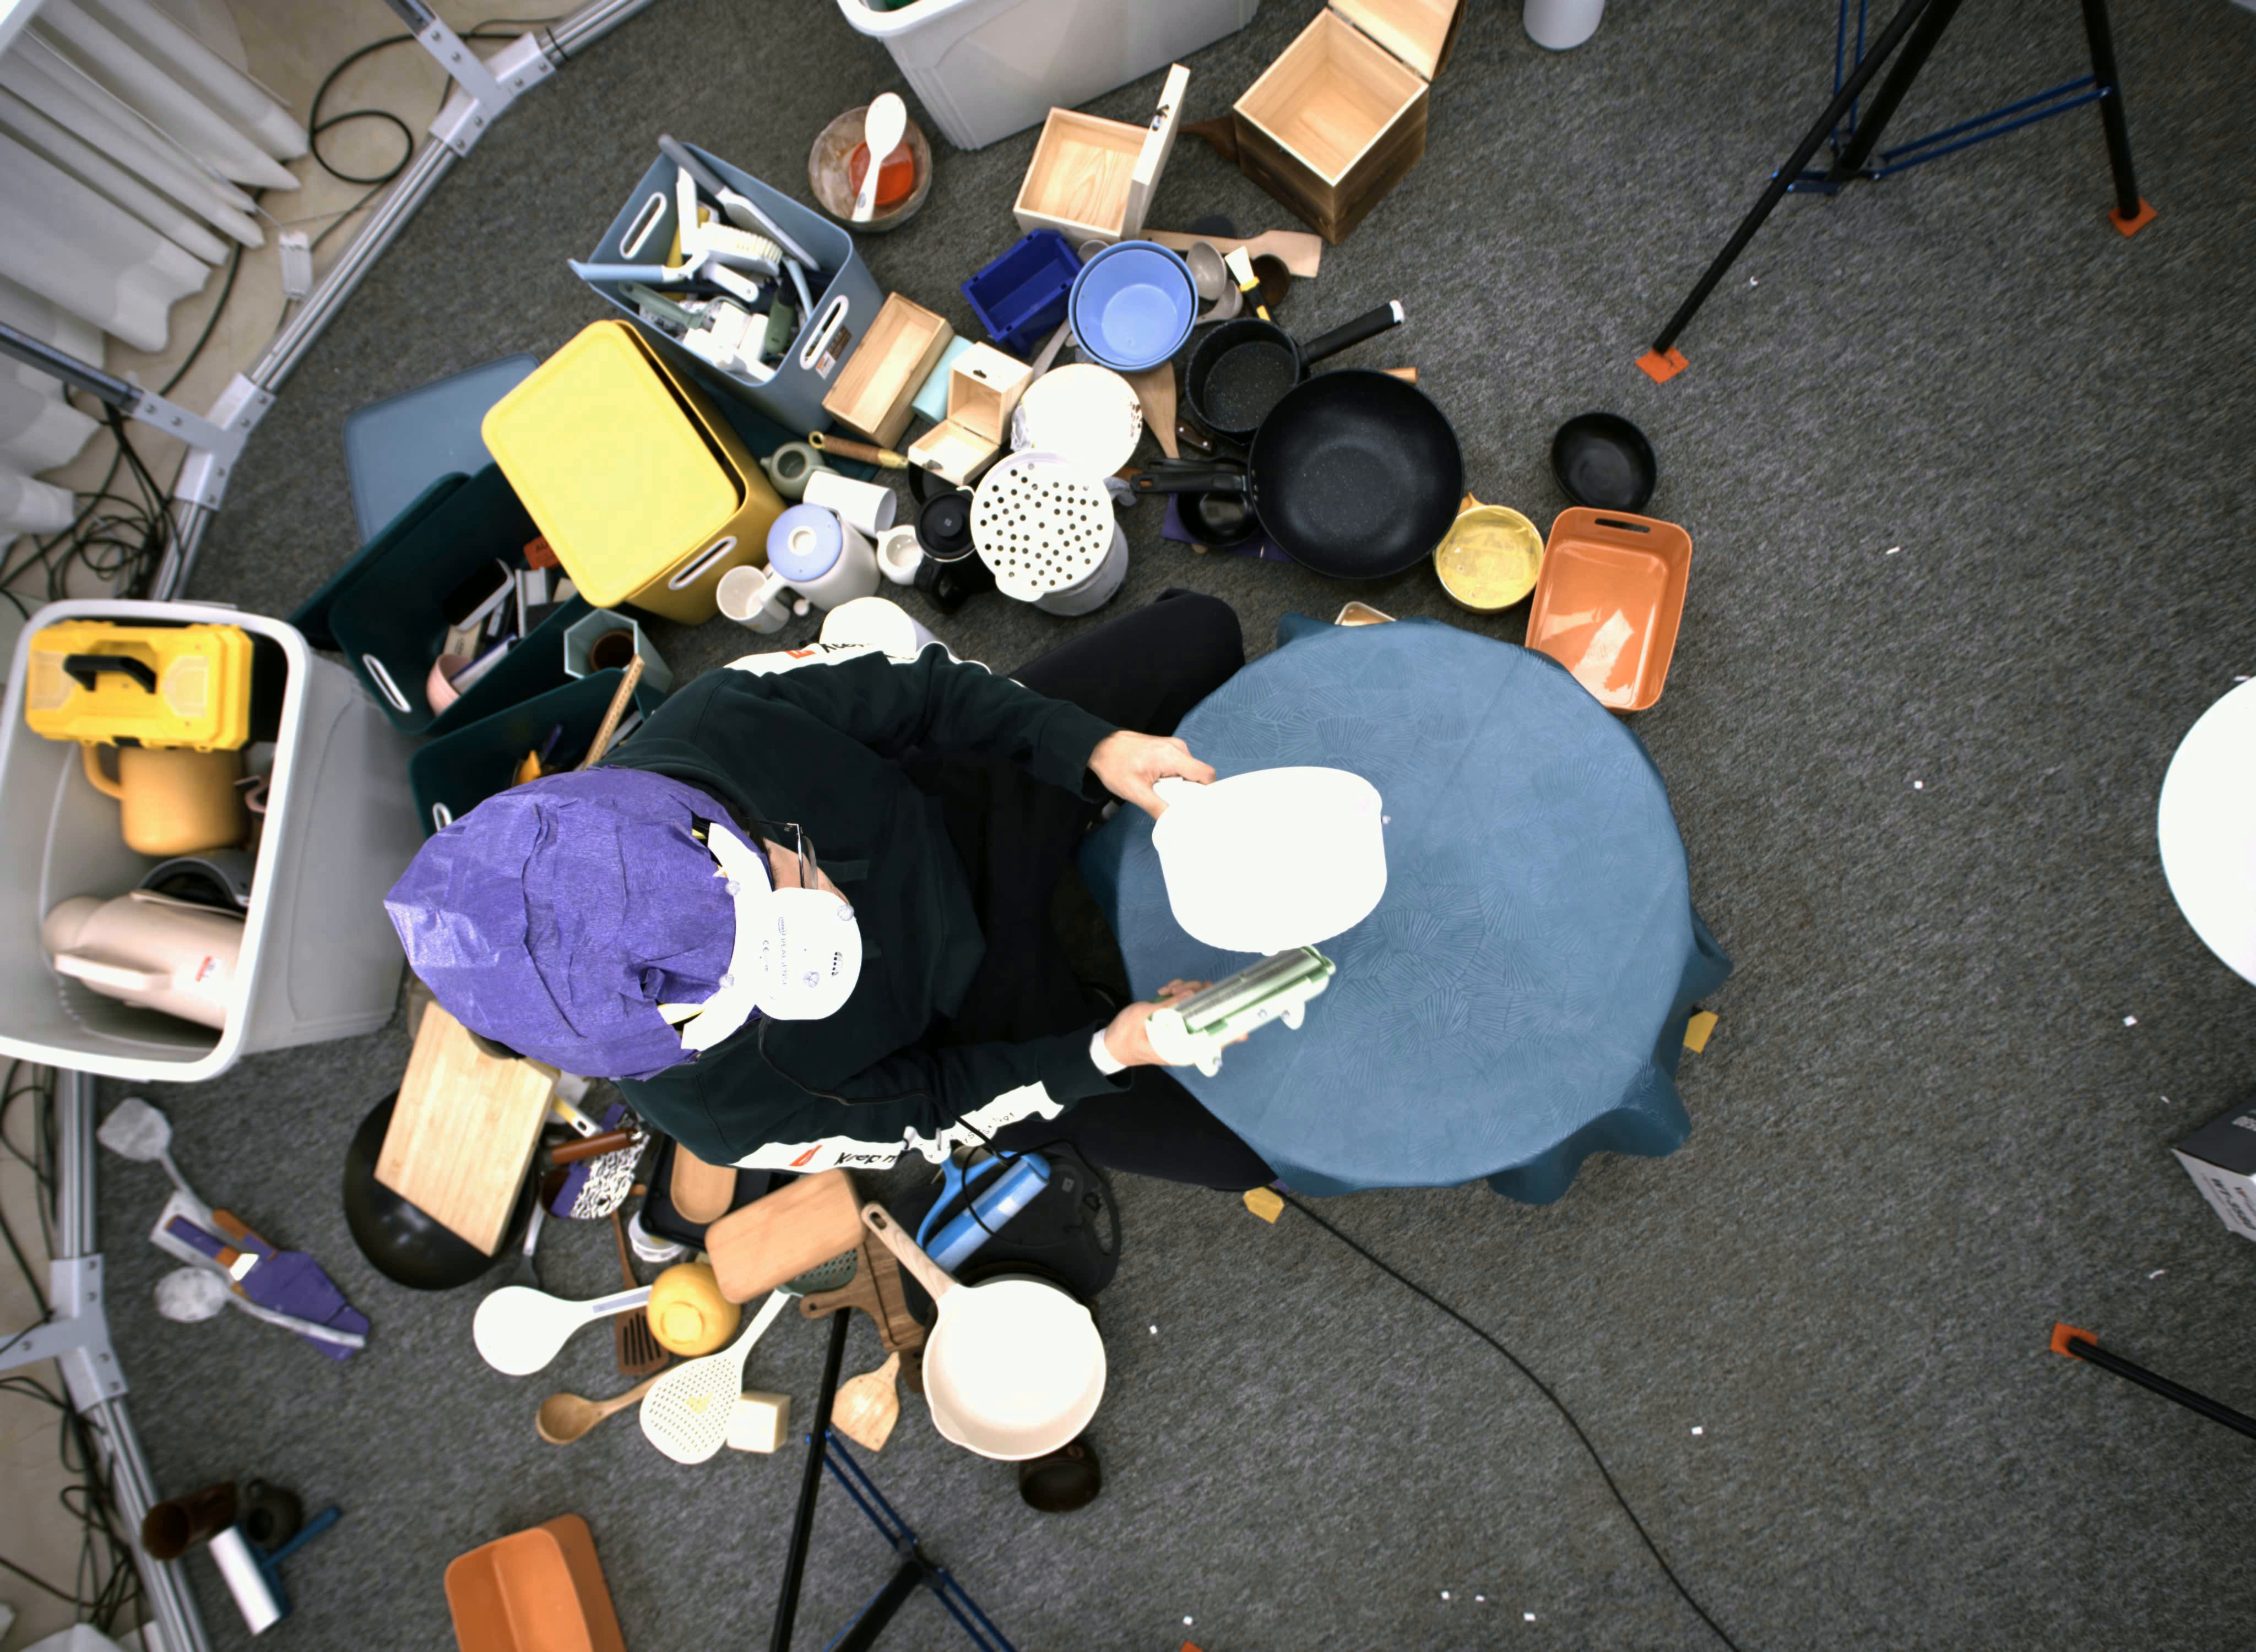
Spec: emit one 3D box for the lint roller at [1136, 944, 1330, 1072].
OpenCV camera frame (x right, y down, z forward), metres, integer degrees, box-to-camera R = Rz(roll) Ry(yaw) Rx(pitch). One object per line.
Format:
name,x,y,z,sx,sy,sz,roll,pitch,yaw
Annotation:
lint roller,0.075,0.184,1.319,0.187,0.195,0.082,-35,79,50

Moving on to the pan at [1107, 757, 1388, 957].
pan,0.089,0.016,1.283,0.199,0.353,0.104,-24,114,-24
